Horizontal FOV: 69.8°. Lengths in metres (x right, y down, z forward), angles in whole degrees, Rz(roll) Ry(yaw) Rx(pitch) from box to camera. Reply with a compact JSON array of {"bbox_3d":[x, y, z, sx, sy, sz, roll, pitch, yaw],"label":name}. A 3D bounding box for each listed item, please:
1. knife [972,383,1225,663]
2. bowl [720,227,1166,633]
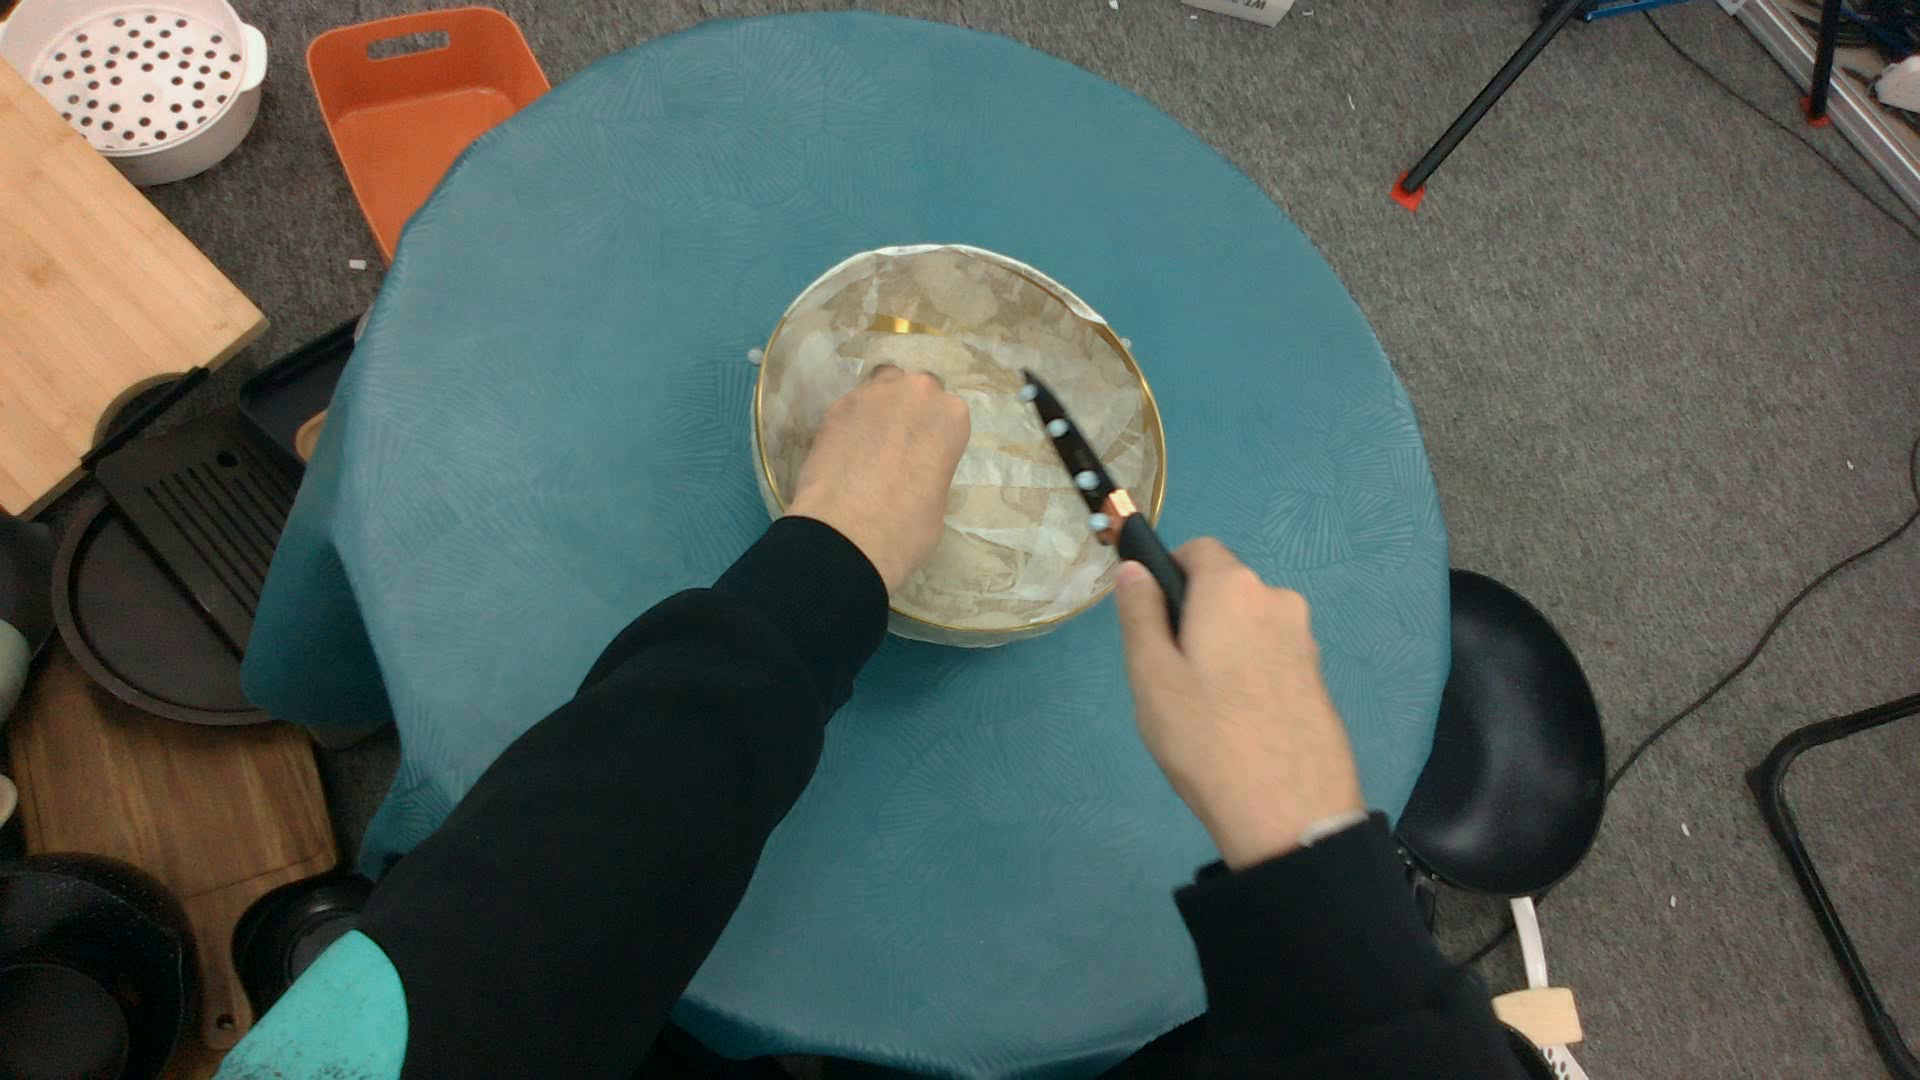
[{"bbox_3d":[0.051,-0.020,0.593,0.017,0.026,0.226,-5,35,-24],"label":"knife"},{"bbox_3d":[-0.014,-0.040,0.672,0.215,0.094,0.215,7,65,-16],"label":"bowl"}]
